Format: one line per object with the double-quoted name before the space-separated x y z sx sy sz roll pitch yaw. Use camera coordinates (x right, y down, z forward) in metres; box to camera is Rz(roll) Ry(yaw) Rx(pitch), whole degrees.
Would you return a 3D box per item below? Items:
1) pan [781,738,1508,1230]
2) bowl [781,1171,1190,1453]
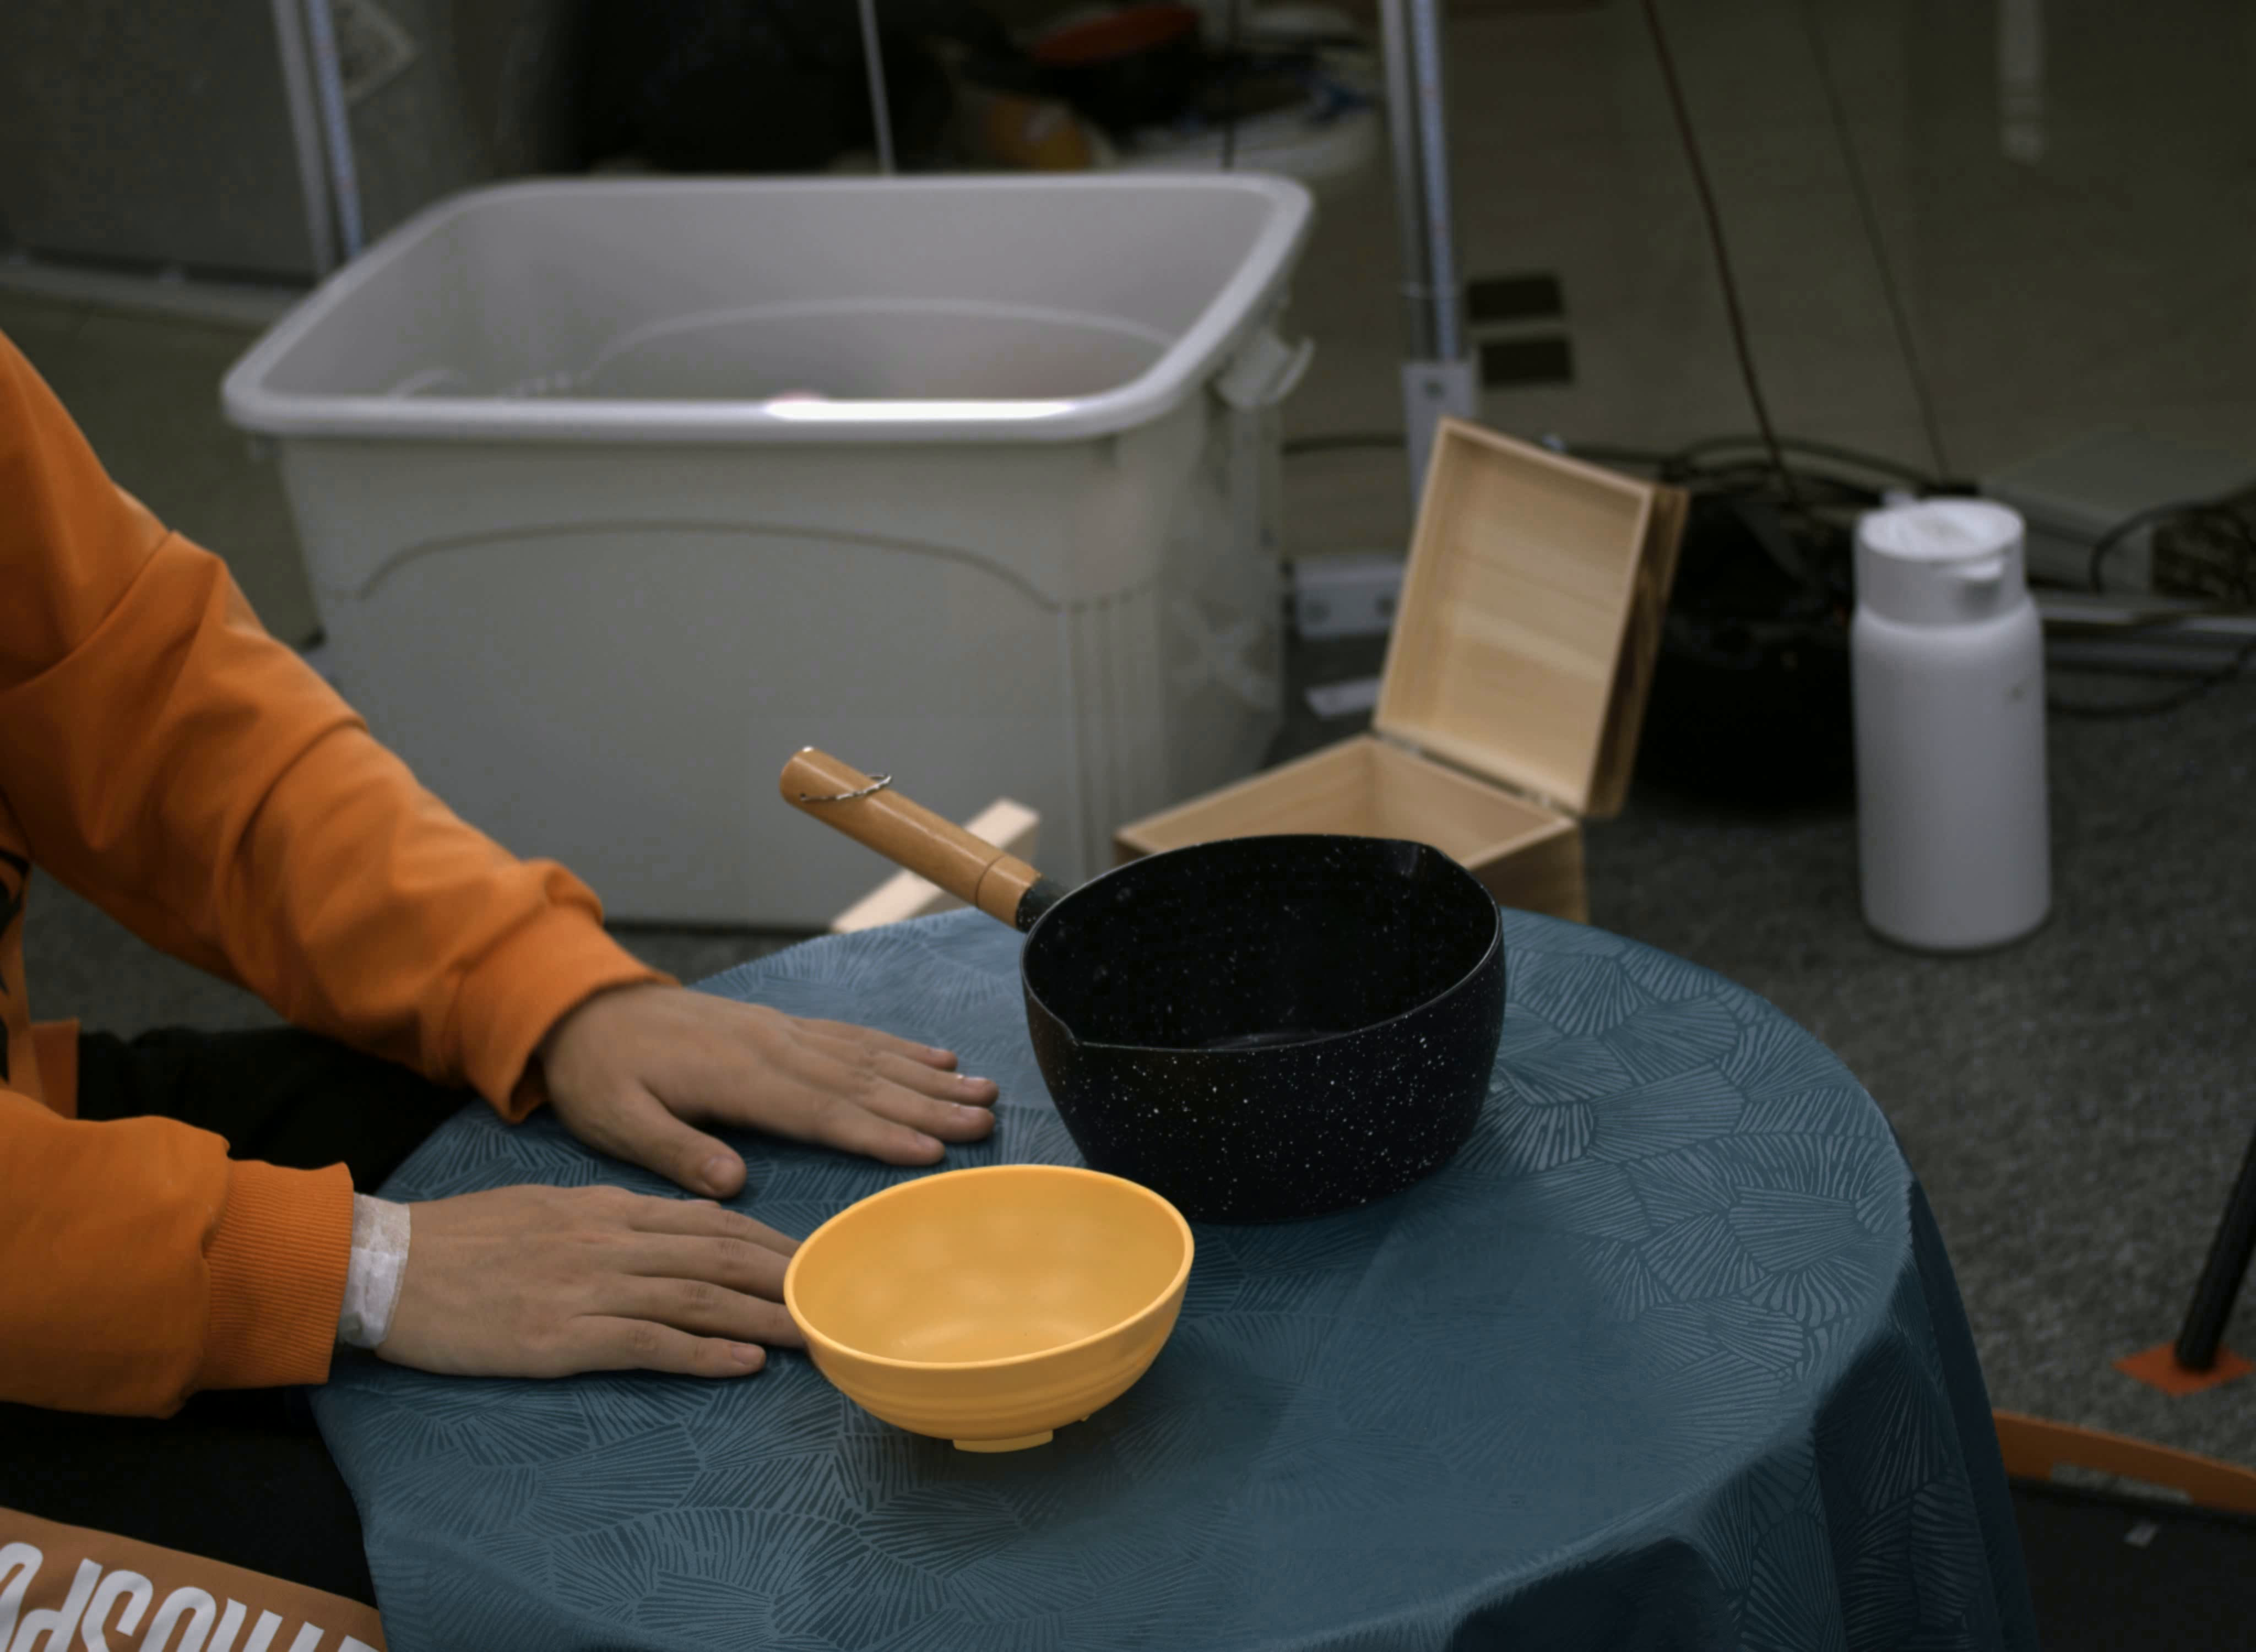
"pan" -0.006 0.053 2.203 0.340 0.110 0.205 17 35 38
"bowl" -0.048 0.180 2.002 0.145 0.061 0.143 -4 24 2
